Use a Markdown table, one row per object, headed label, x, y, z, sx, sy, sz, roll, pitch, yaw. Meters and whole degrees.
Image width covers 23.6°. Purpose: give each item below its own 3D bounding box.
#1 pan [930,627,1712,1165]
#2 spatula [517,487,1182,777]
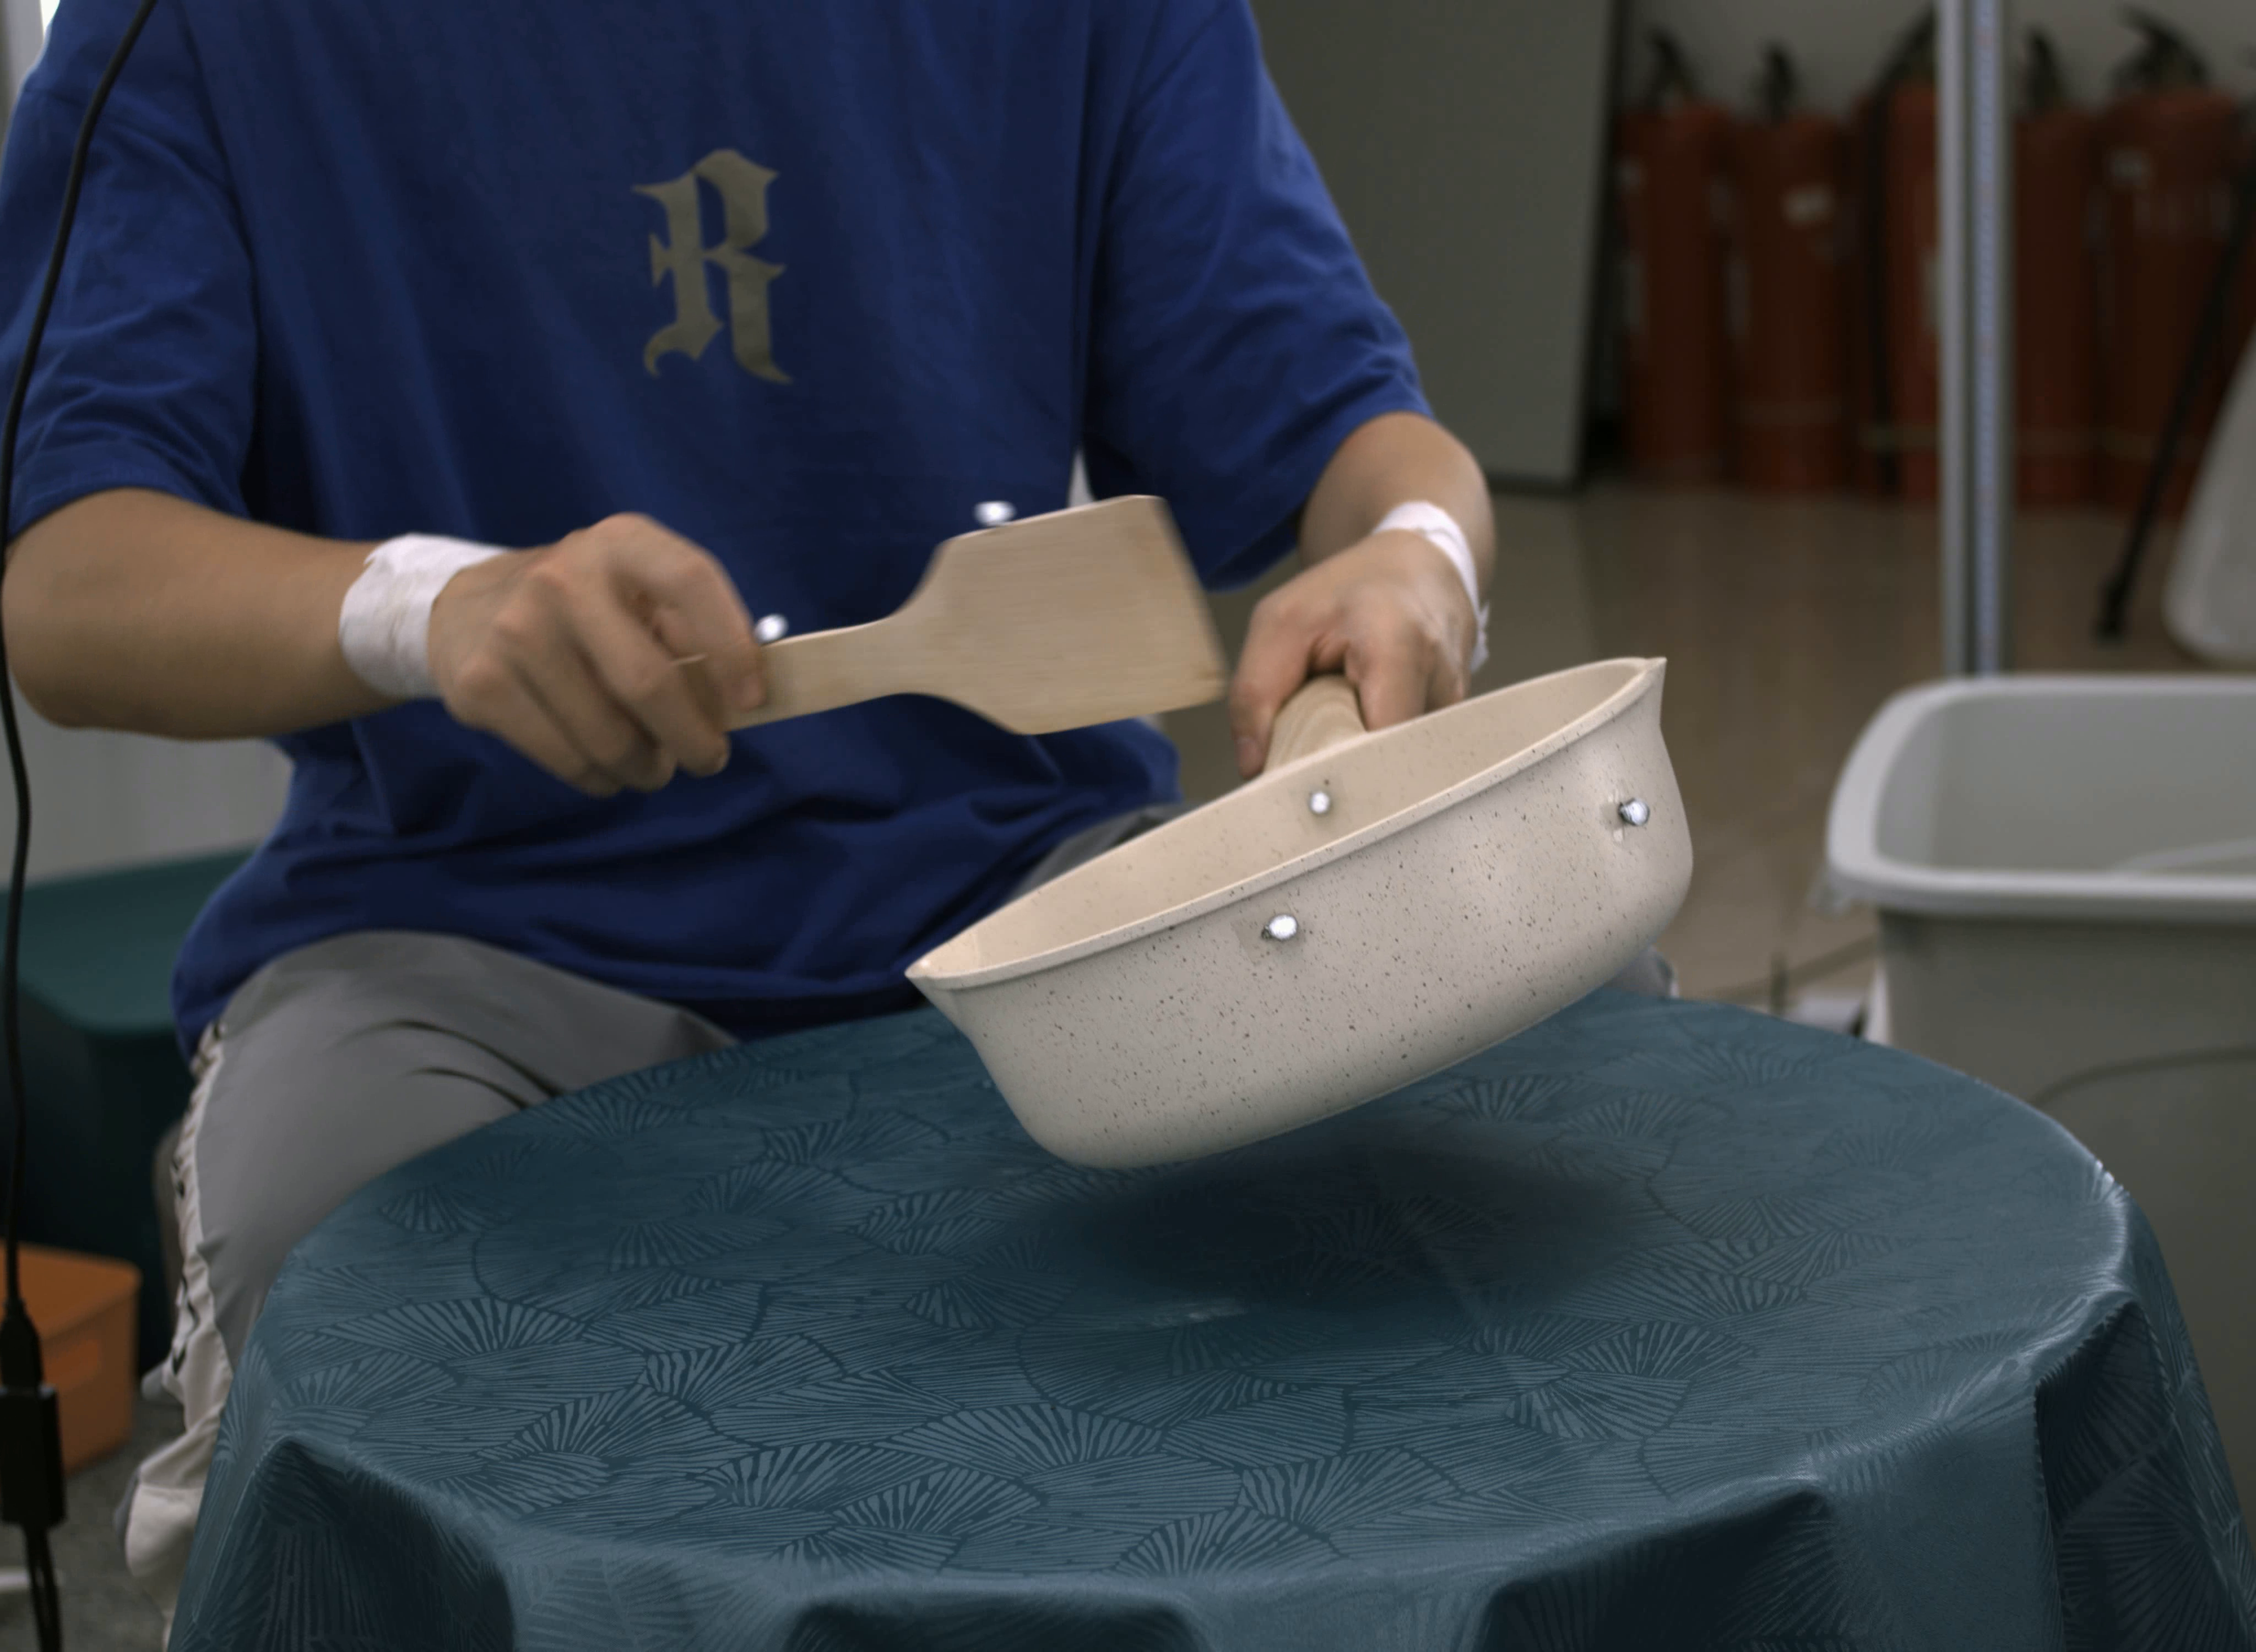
| label | x | y | z | sx | sy | sz | roll | pitch | yaw |
| --- | --- | --- | --- | --- | --- | --- | --- | --- | --- |
| pan | 0.075 | 0.011 | 1.793 | 0.262 | 0.103 | 0.434 | -25 | 4 | 7 |
| spatula | -0.101 | -0.051 | 1.748 | 0.295 | 0.073 | 0.010 | -12 | 15 | 43 |
